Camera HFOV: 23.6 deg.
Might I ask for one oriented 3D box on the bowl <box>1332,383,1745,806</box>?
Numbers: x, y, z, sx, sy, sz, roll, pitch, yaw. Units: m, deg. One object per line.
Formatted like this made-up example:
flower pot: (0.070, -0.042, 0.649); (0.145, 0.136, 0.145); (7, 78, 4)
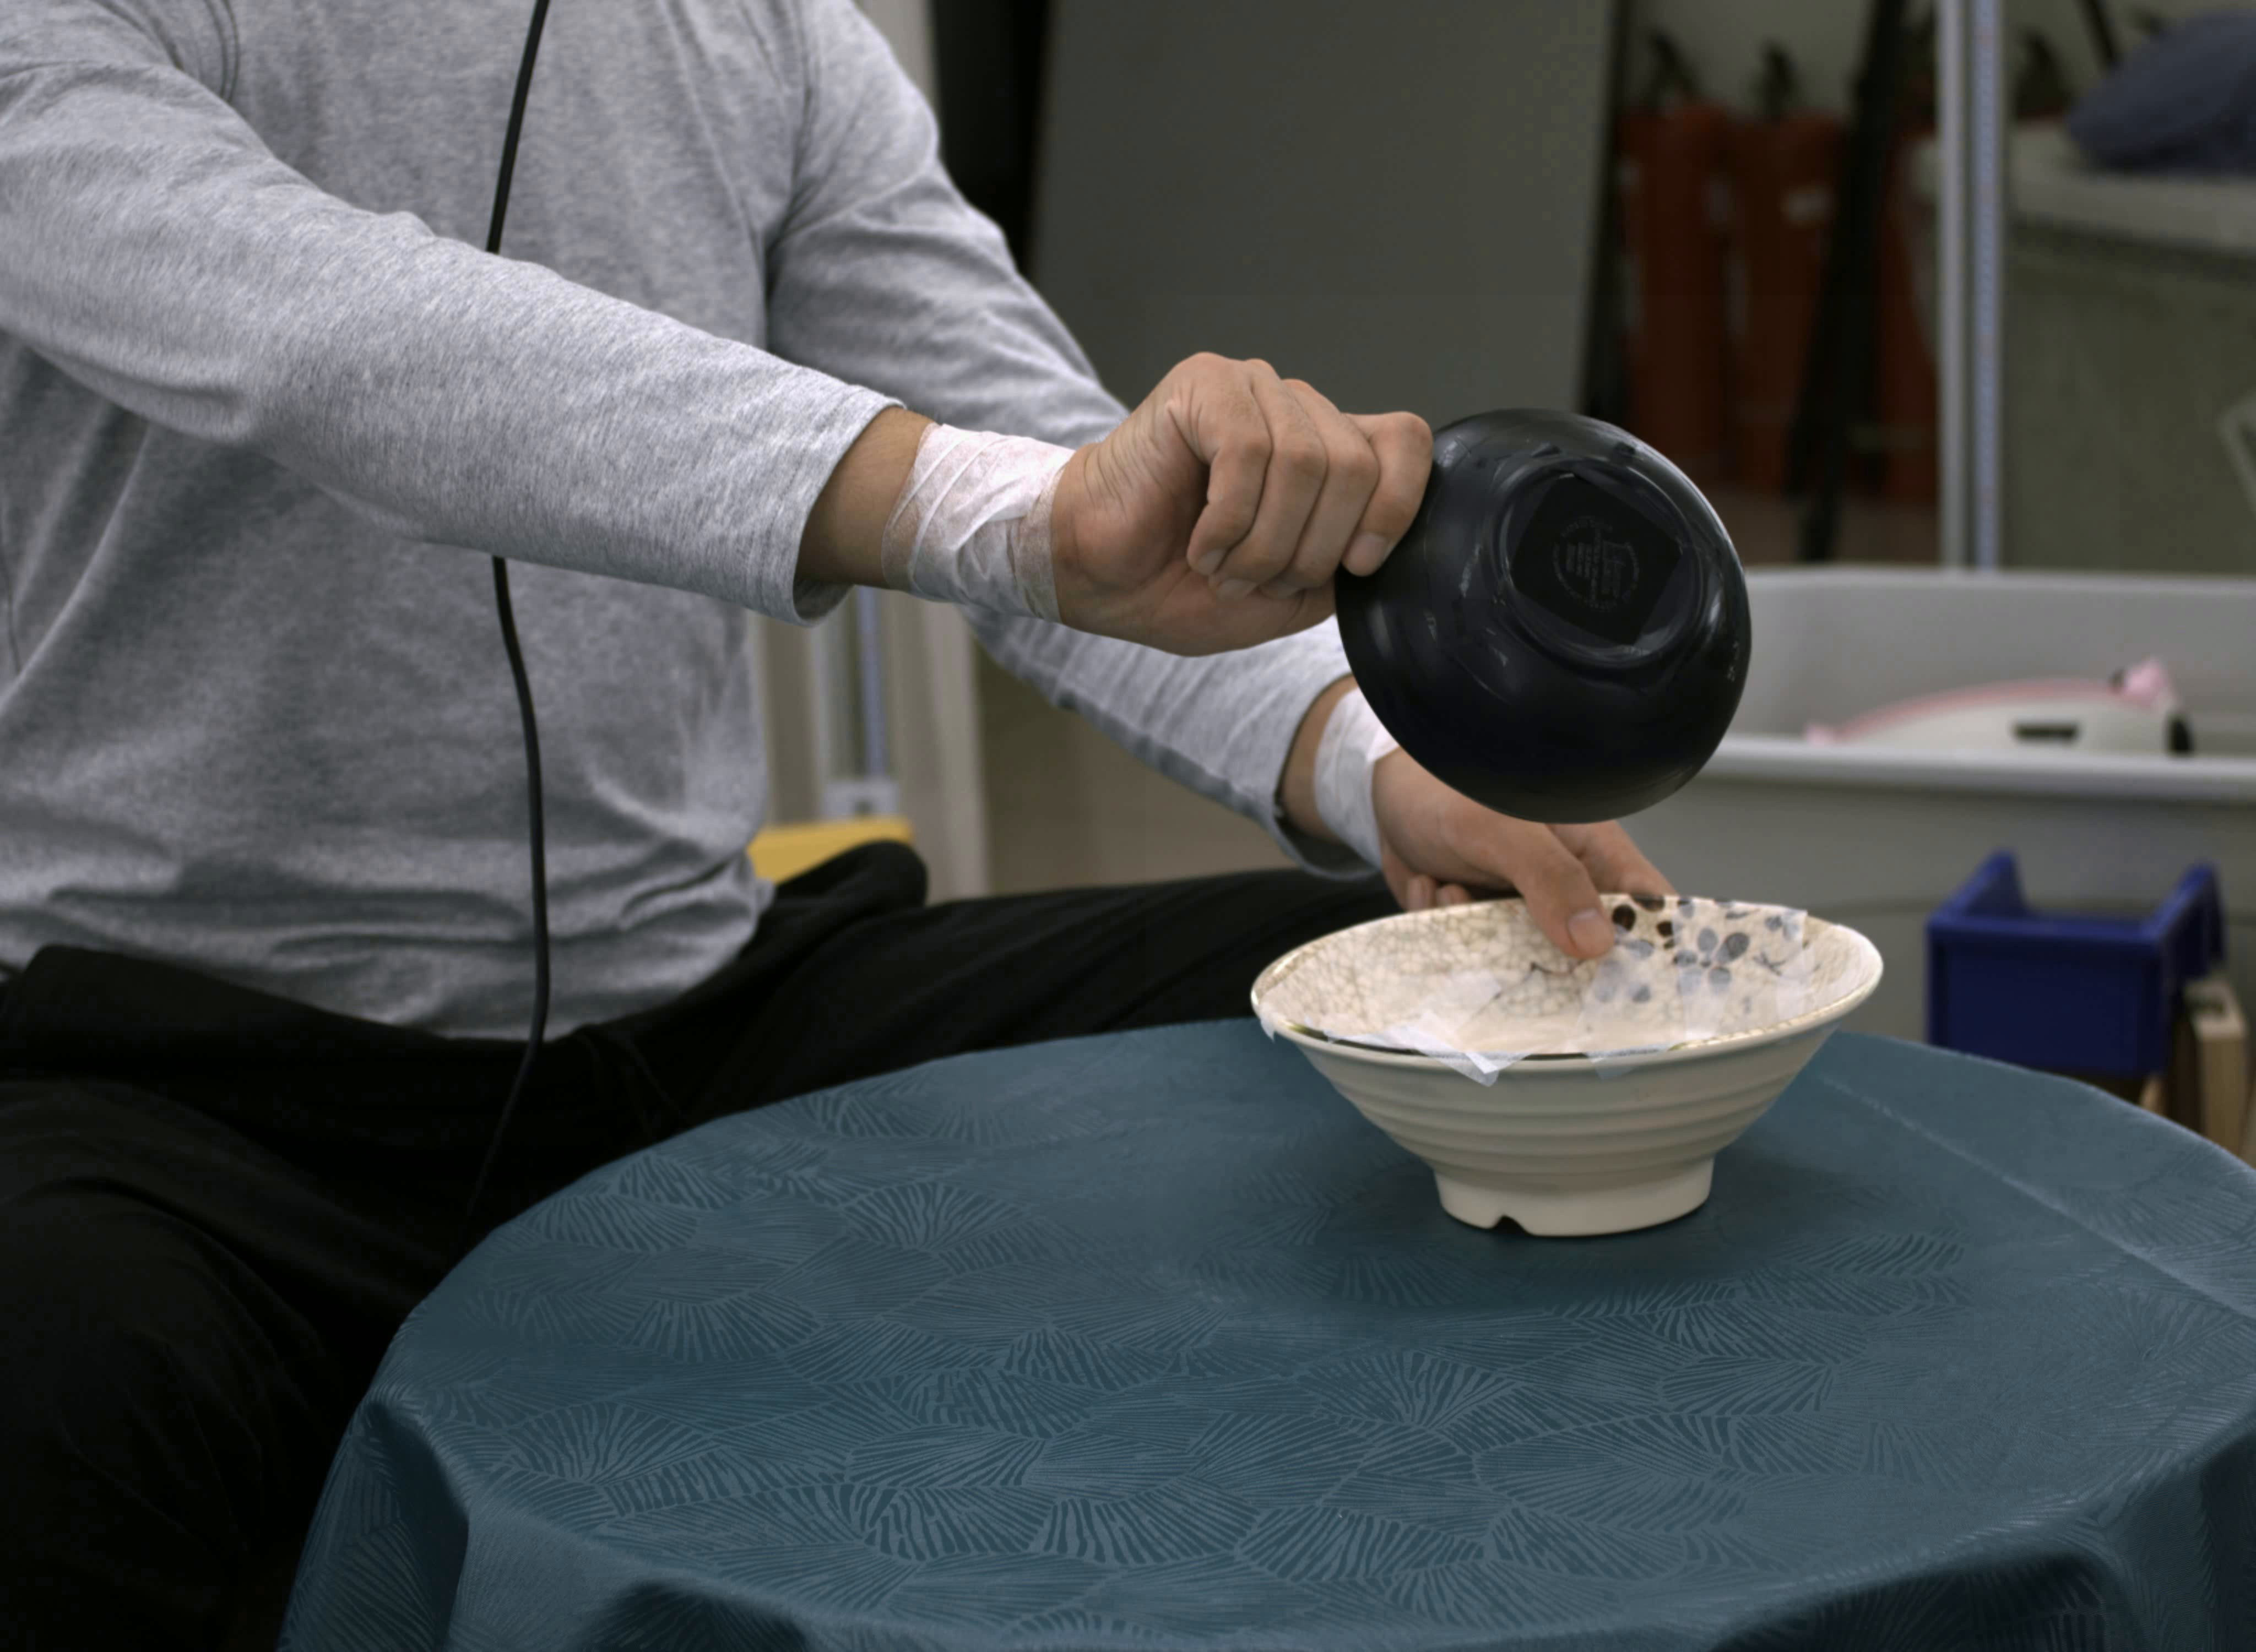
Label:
bowl: (0.135, -0.079, 1.657); (0.137, 0.142, 0.050); (-10, -20, -27)

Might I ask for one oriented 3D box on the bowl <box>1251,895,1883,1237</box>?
bowl: (0.142, 0.082, 1.724); (0.201, 0.079, 0.204); (-4, 12, 0)
